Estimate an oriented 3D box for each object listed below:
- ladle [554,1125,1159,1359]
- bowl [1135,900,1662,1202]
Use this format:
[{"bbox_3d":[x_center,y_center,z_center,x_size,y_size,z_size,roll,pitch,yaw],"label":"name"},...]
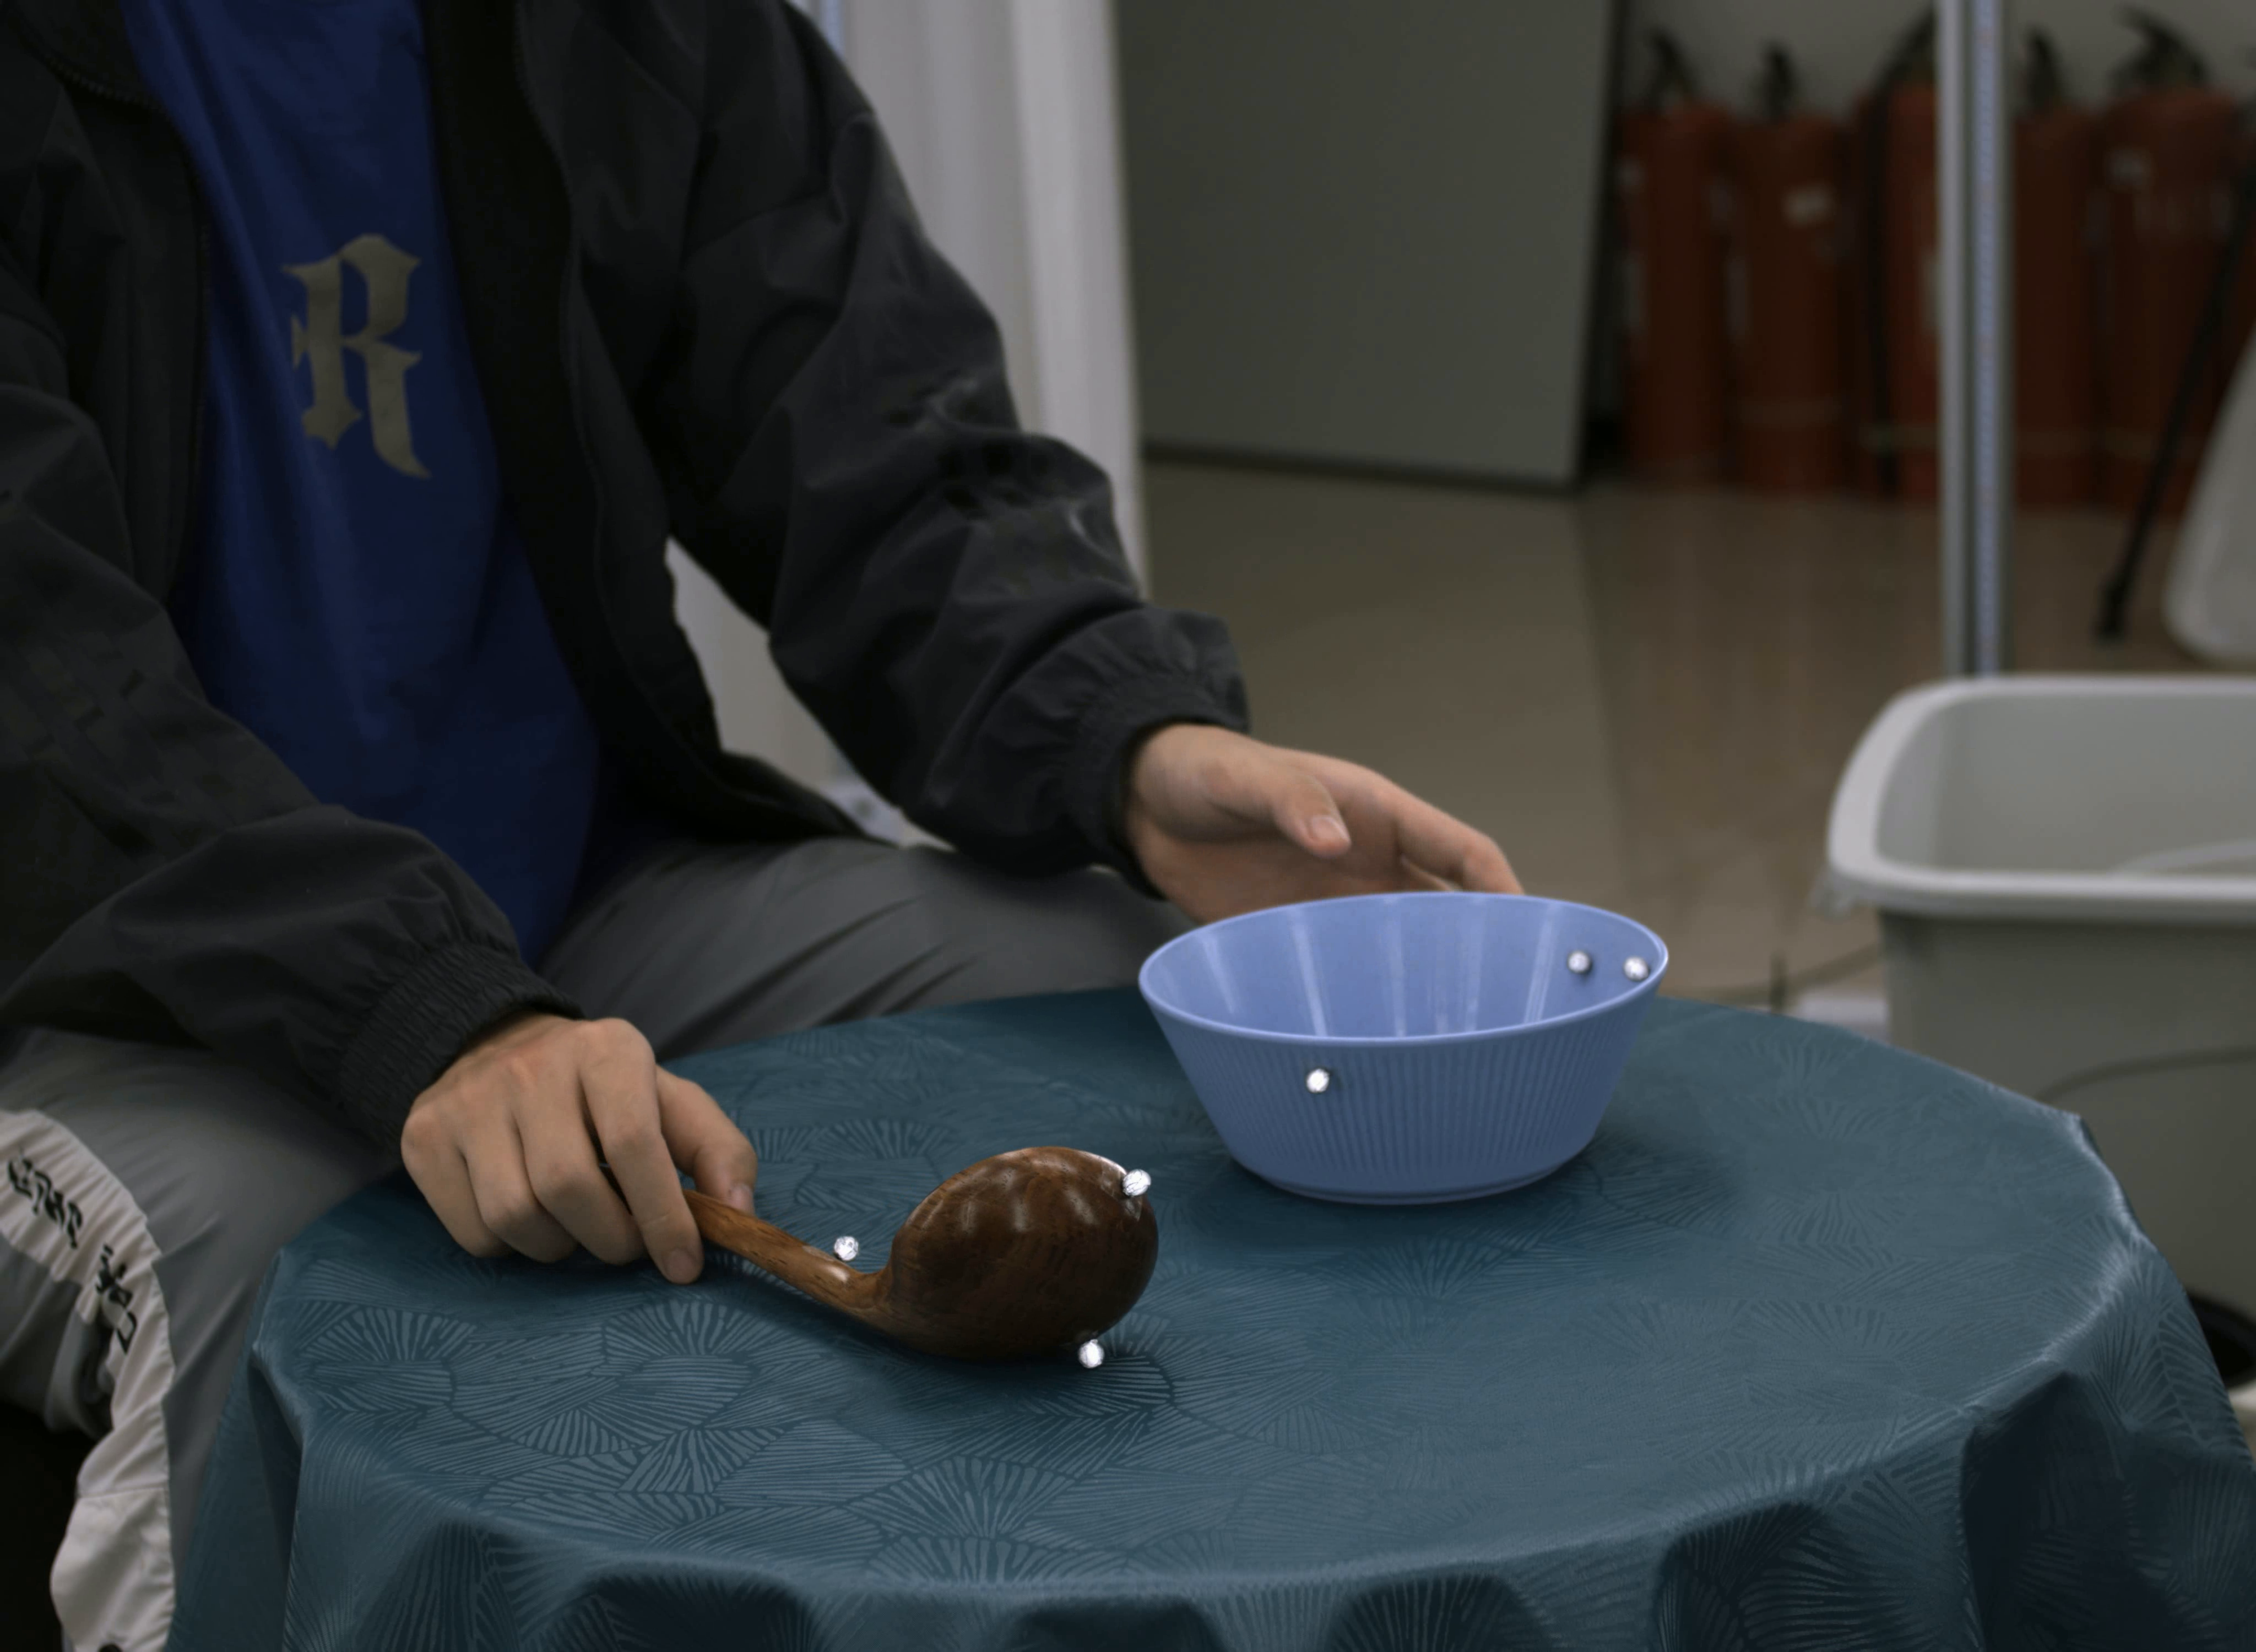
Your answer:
[{"bbox_3d":[-0.091,0.113,1.688,0.277,0.081,0.077,12,65,55],"label":"ladle"},{"bbox_3d":[0.090,0.076,1.781,0.174,0.071,0.176,-4,13,0],"label":"bowl"}]
